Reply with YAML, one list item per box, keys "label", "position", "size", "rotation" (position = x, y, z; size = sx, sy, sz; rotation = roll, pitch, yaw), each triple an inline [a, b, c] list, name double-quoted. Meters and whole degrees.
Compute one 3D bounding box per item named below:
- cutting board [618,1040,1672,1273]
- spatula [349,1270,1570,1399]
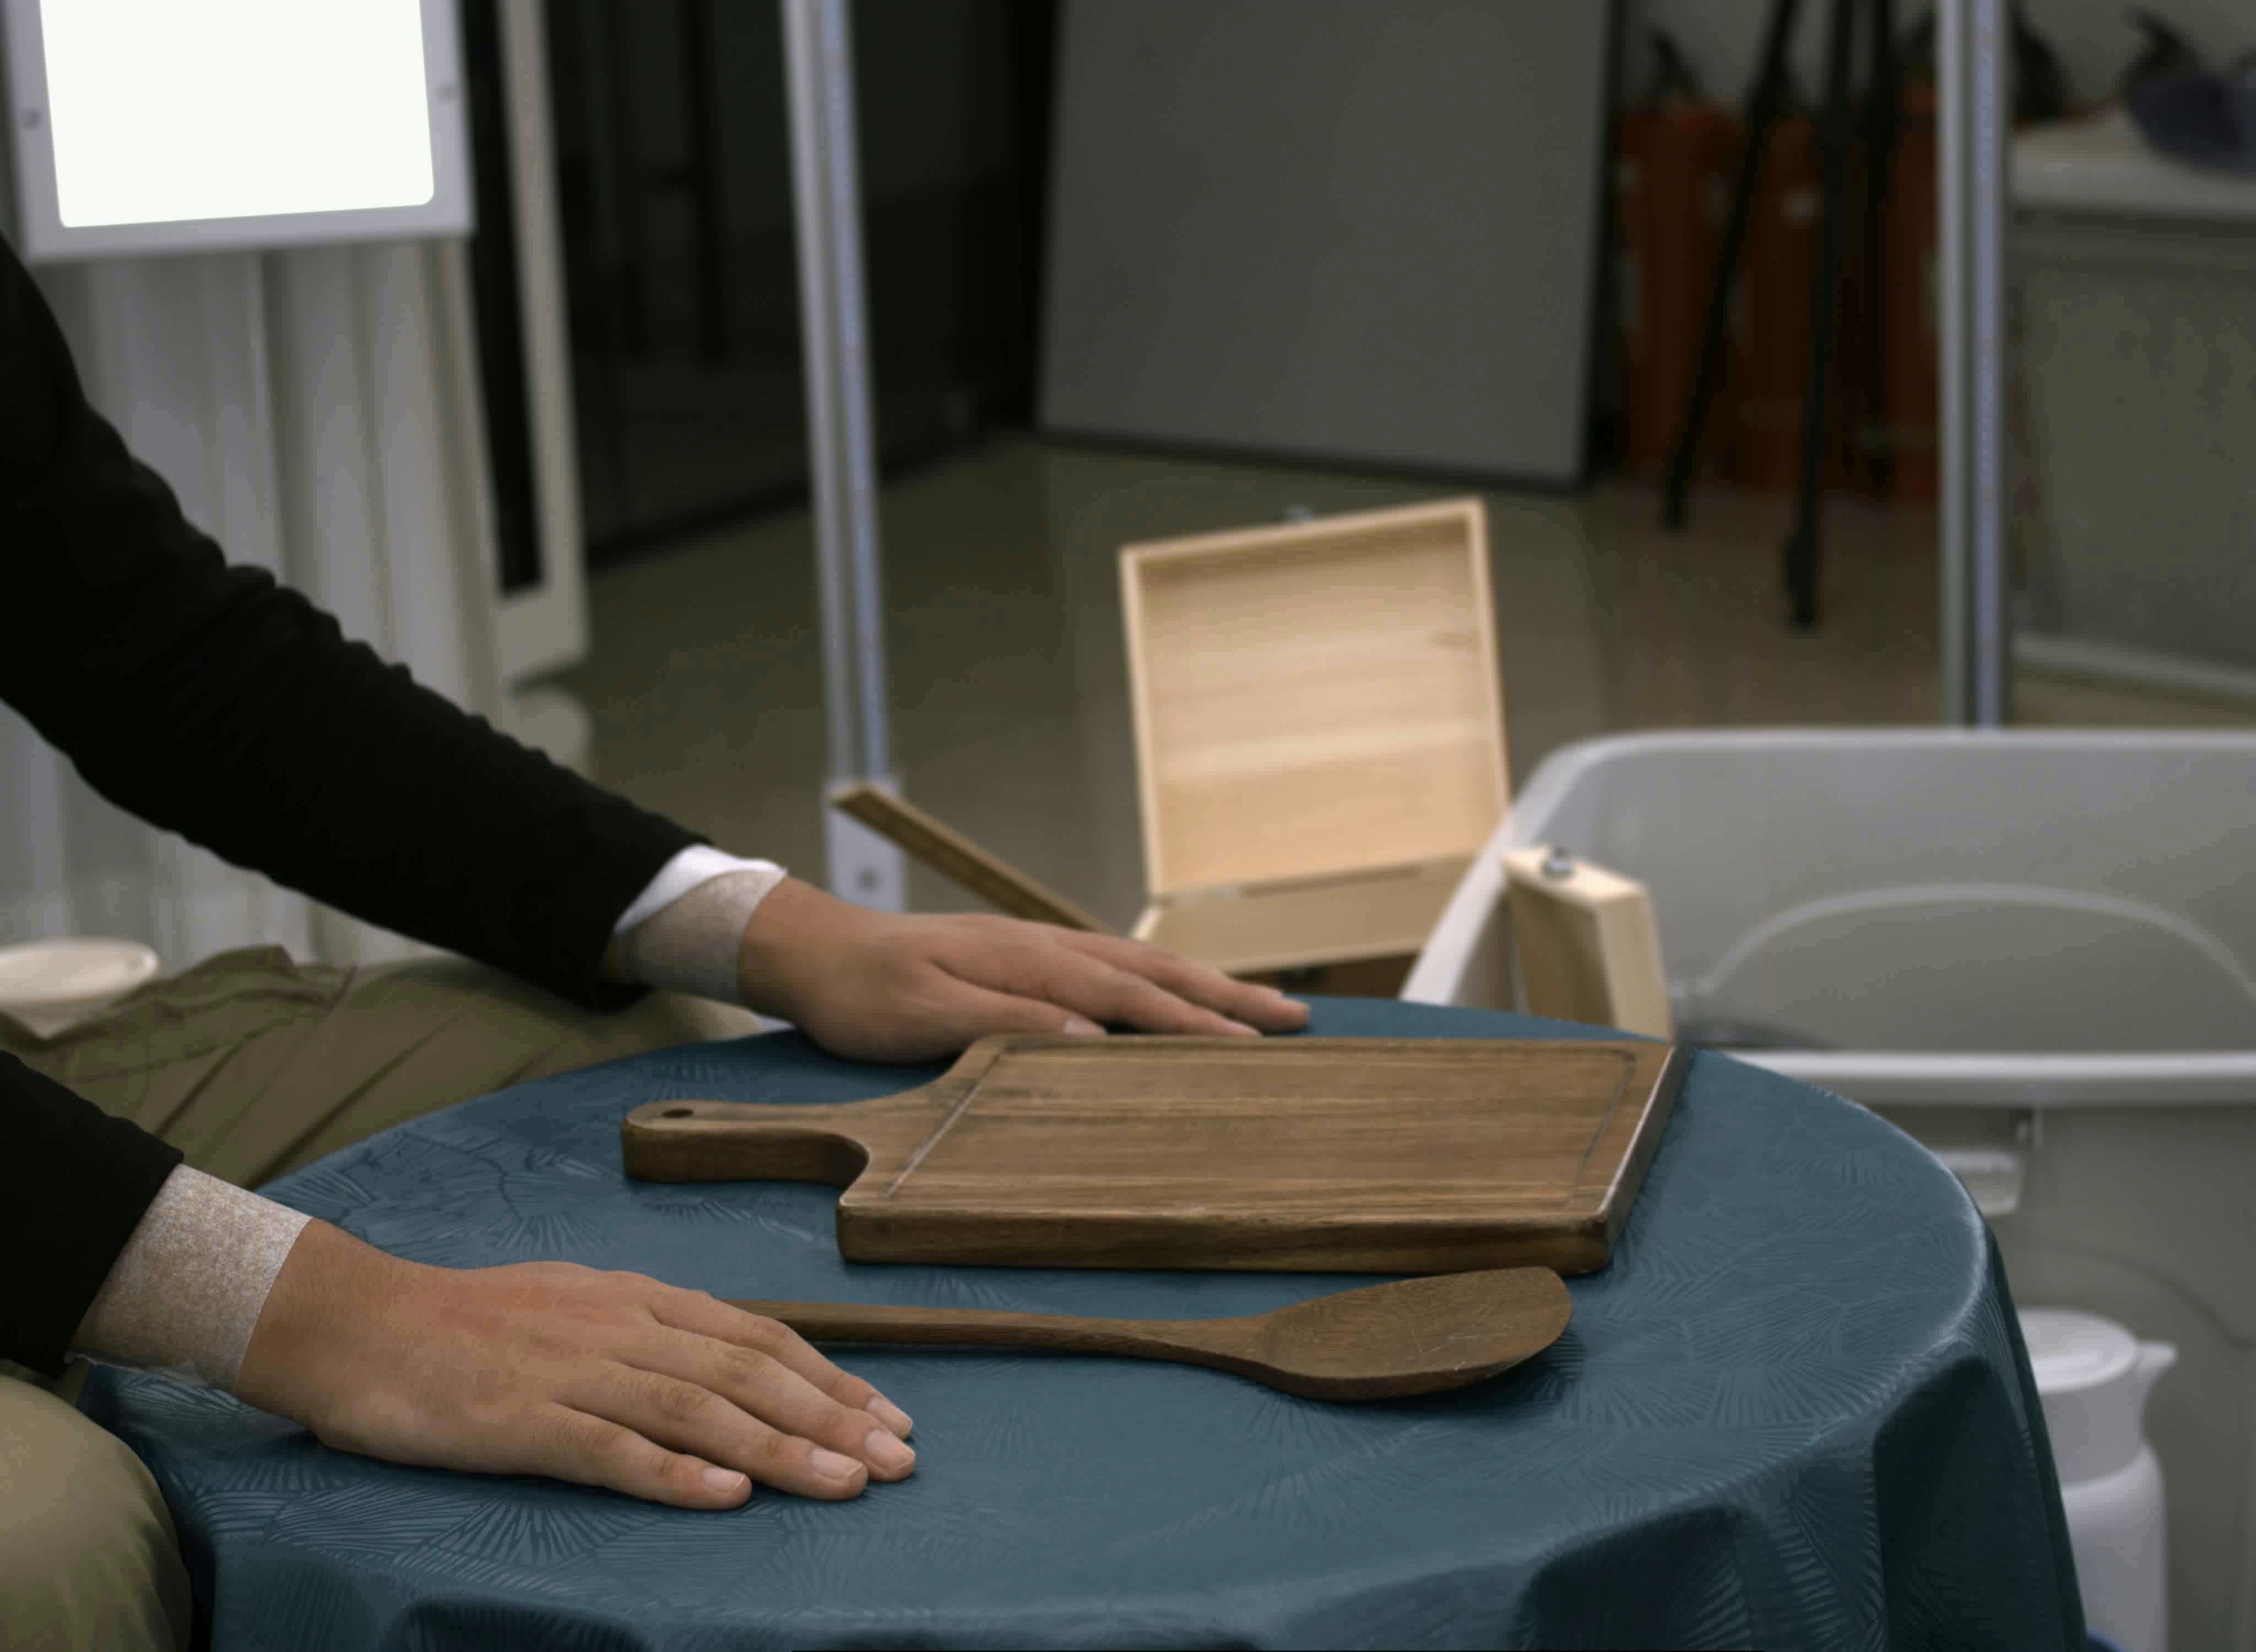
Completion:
- label: "cutting board"
  position: [-0.001, 0.107, 1.785]
  size: [0.350, 0.023, 0.200]
  rotation: [-1, 14, 14]
- label: "spatula"
  position: [-0.056, 0.152, 1.630]
  size: [0.384, 0.016, 0.095]
  rotation: [-1, 14, 15]
